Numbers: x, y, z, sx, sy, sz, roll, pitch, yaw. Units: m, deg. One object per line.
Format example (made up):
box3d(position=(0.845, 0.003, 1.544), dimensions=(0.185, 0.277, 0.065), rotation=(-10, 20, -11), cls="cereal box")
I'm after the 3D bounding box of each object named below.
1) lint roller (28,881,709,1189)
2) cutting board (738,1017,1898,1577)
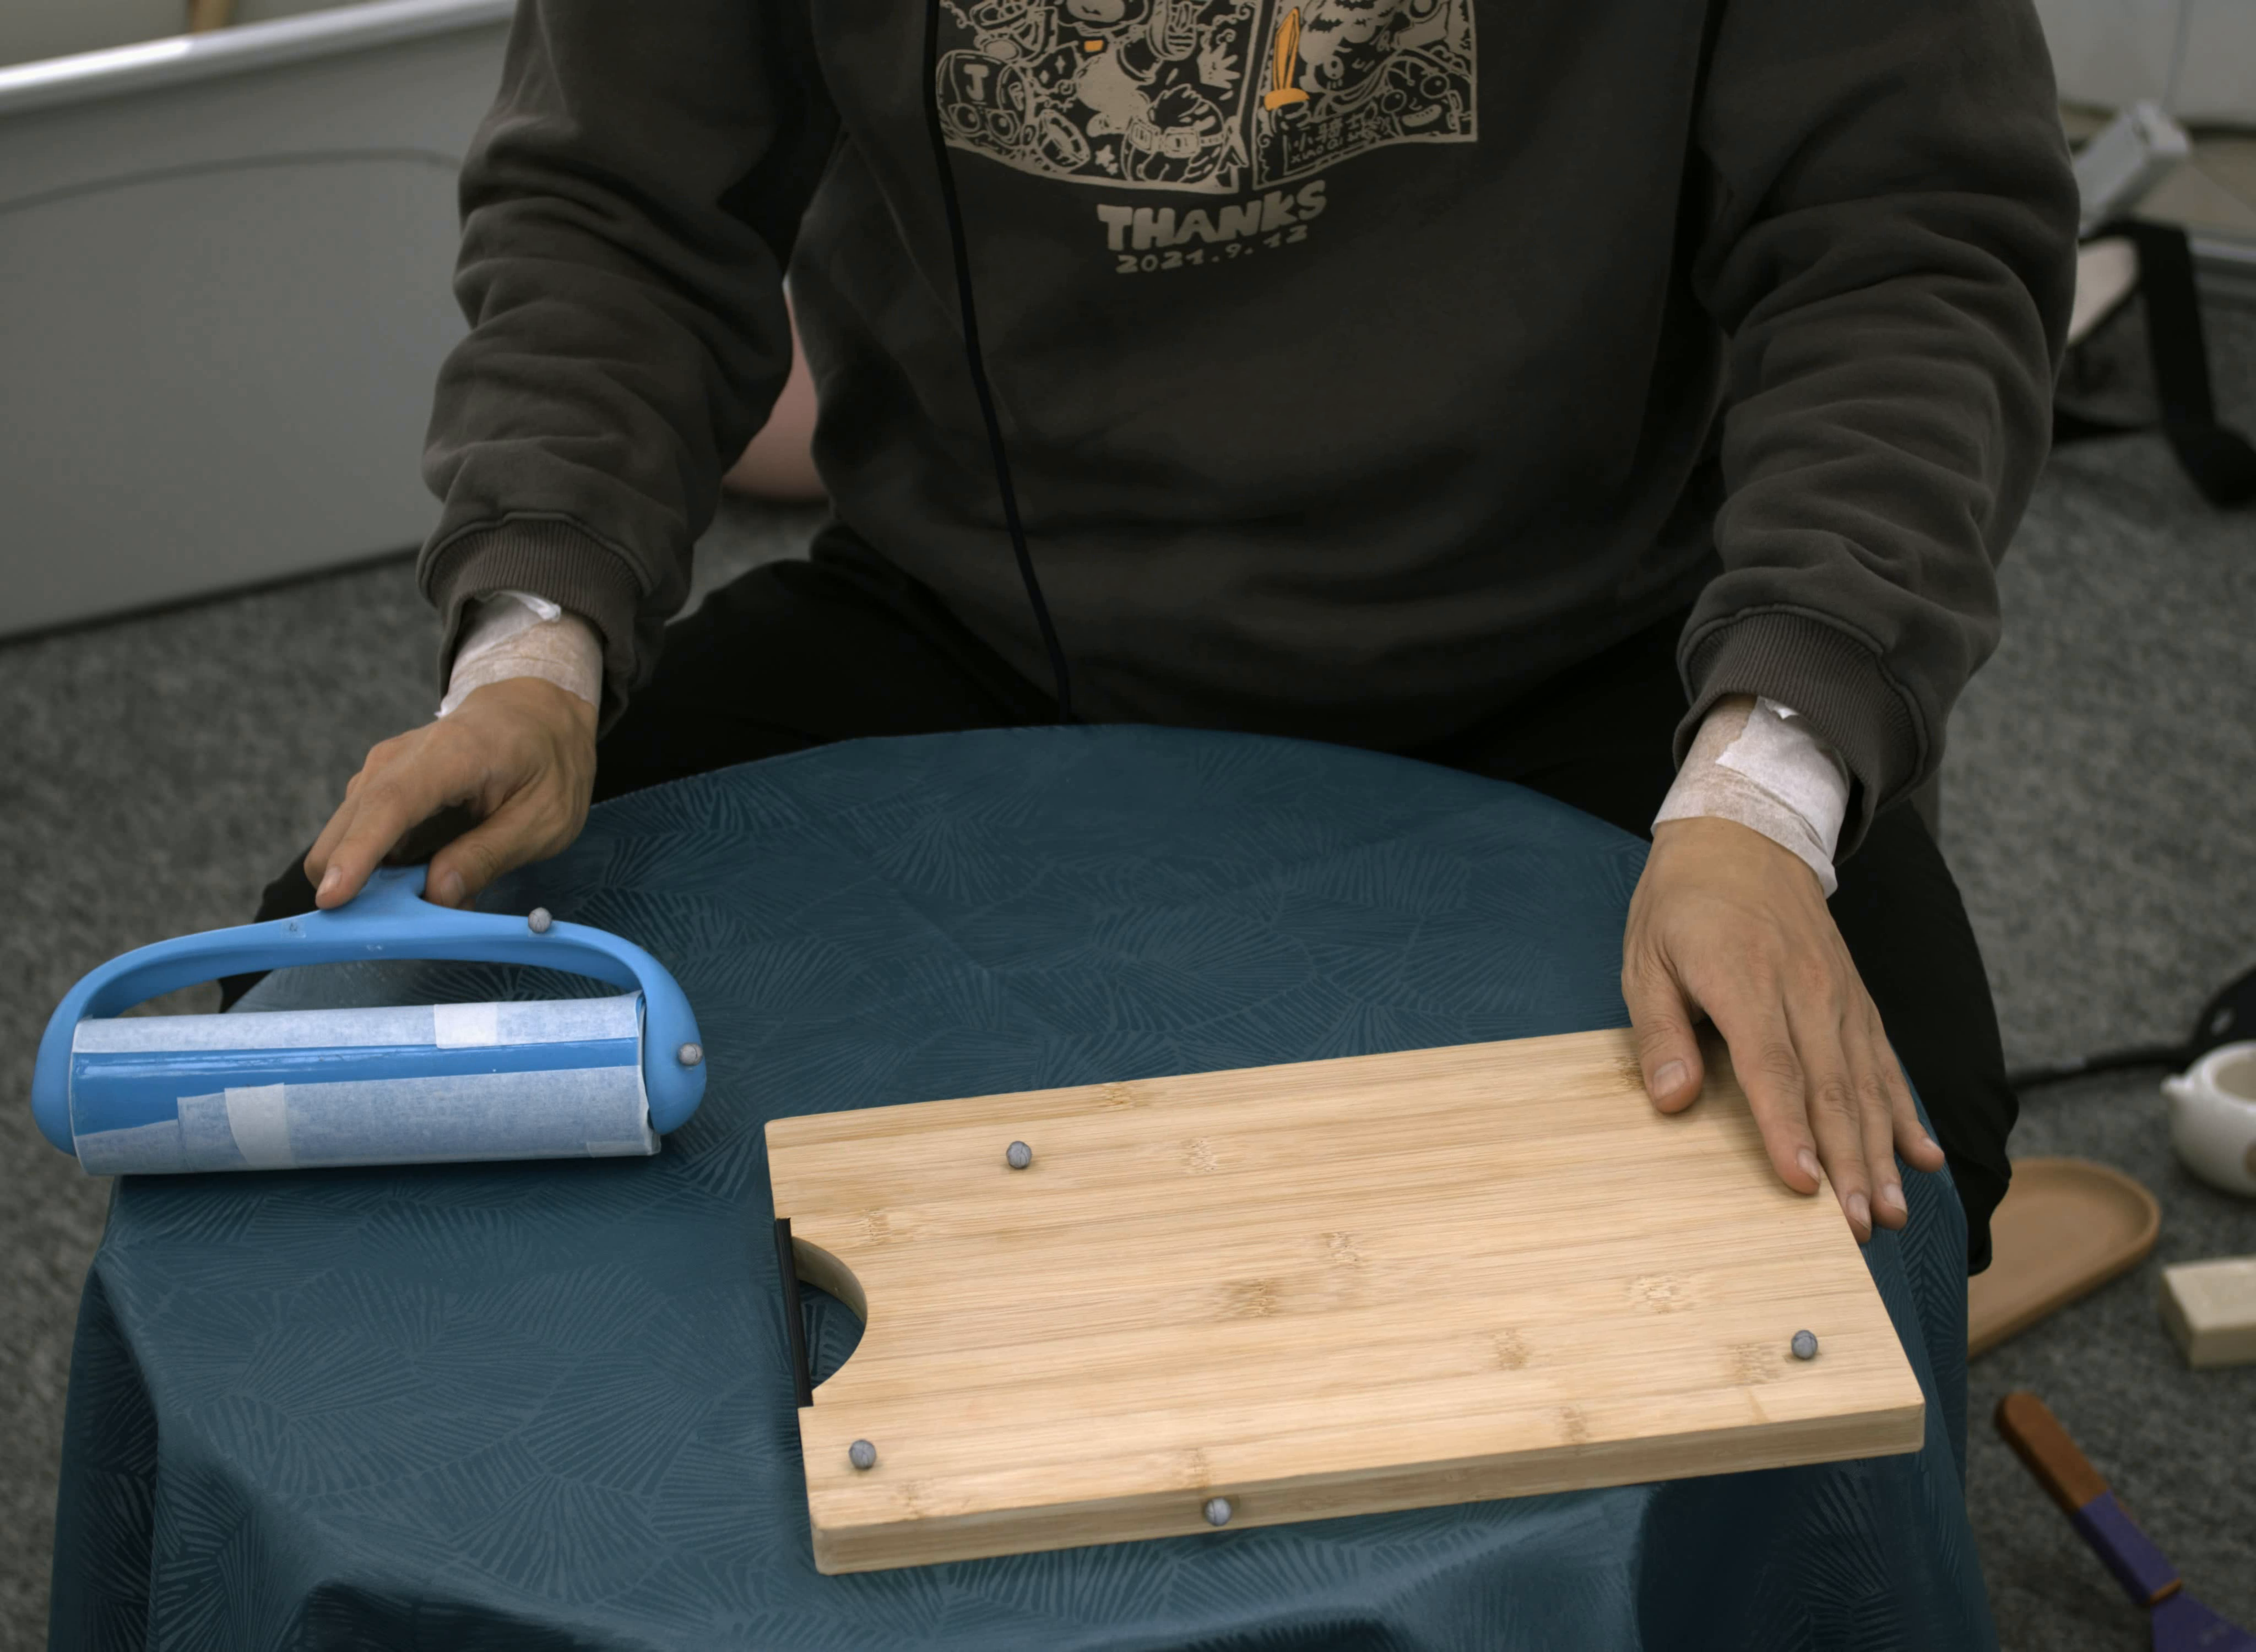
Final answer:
box3d(position=(-0.258, 0.057, 1.939), dimensions=(0.228, 0.067, 0.183), rotation=(-5, 33, -1), cls="lint roller")
box3d(position=(0.054, 0.146, 1.792), dimensions=(0.348, 0.023, 0.254), rotation=(-6, 27, -6), cls="cutting board")
